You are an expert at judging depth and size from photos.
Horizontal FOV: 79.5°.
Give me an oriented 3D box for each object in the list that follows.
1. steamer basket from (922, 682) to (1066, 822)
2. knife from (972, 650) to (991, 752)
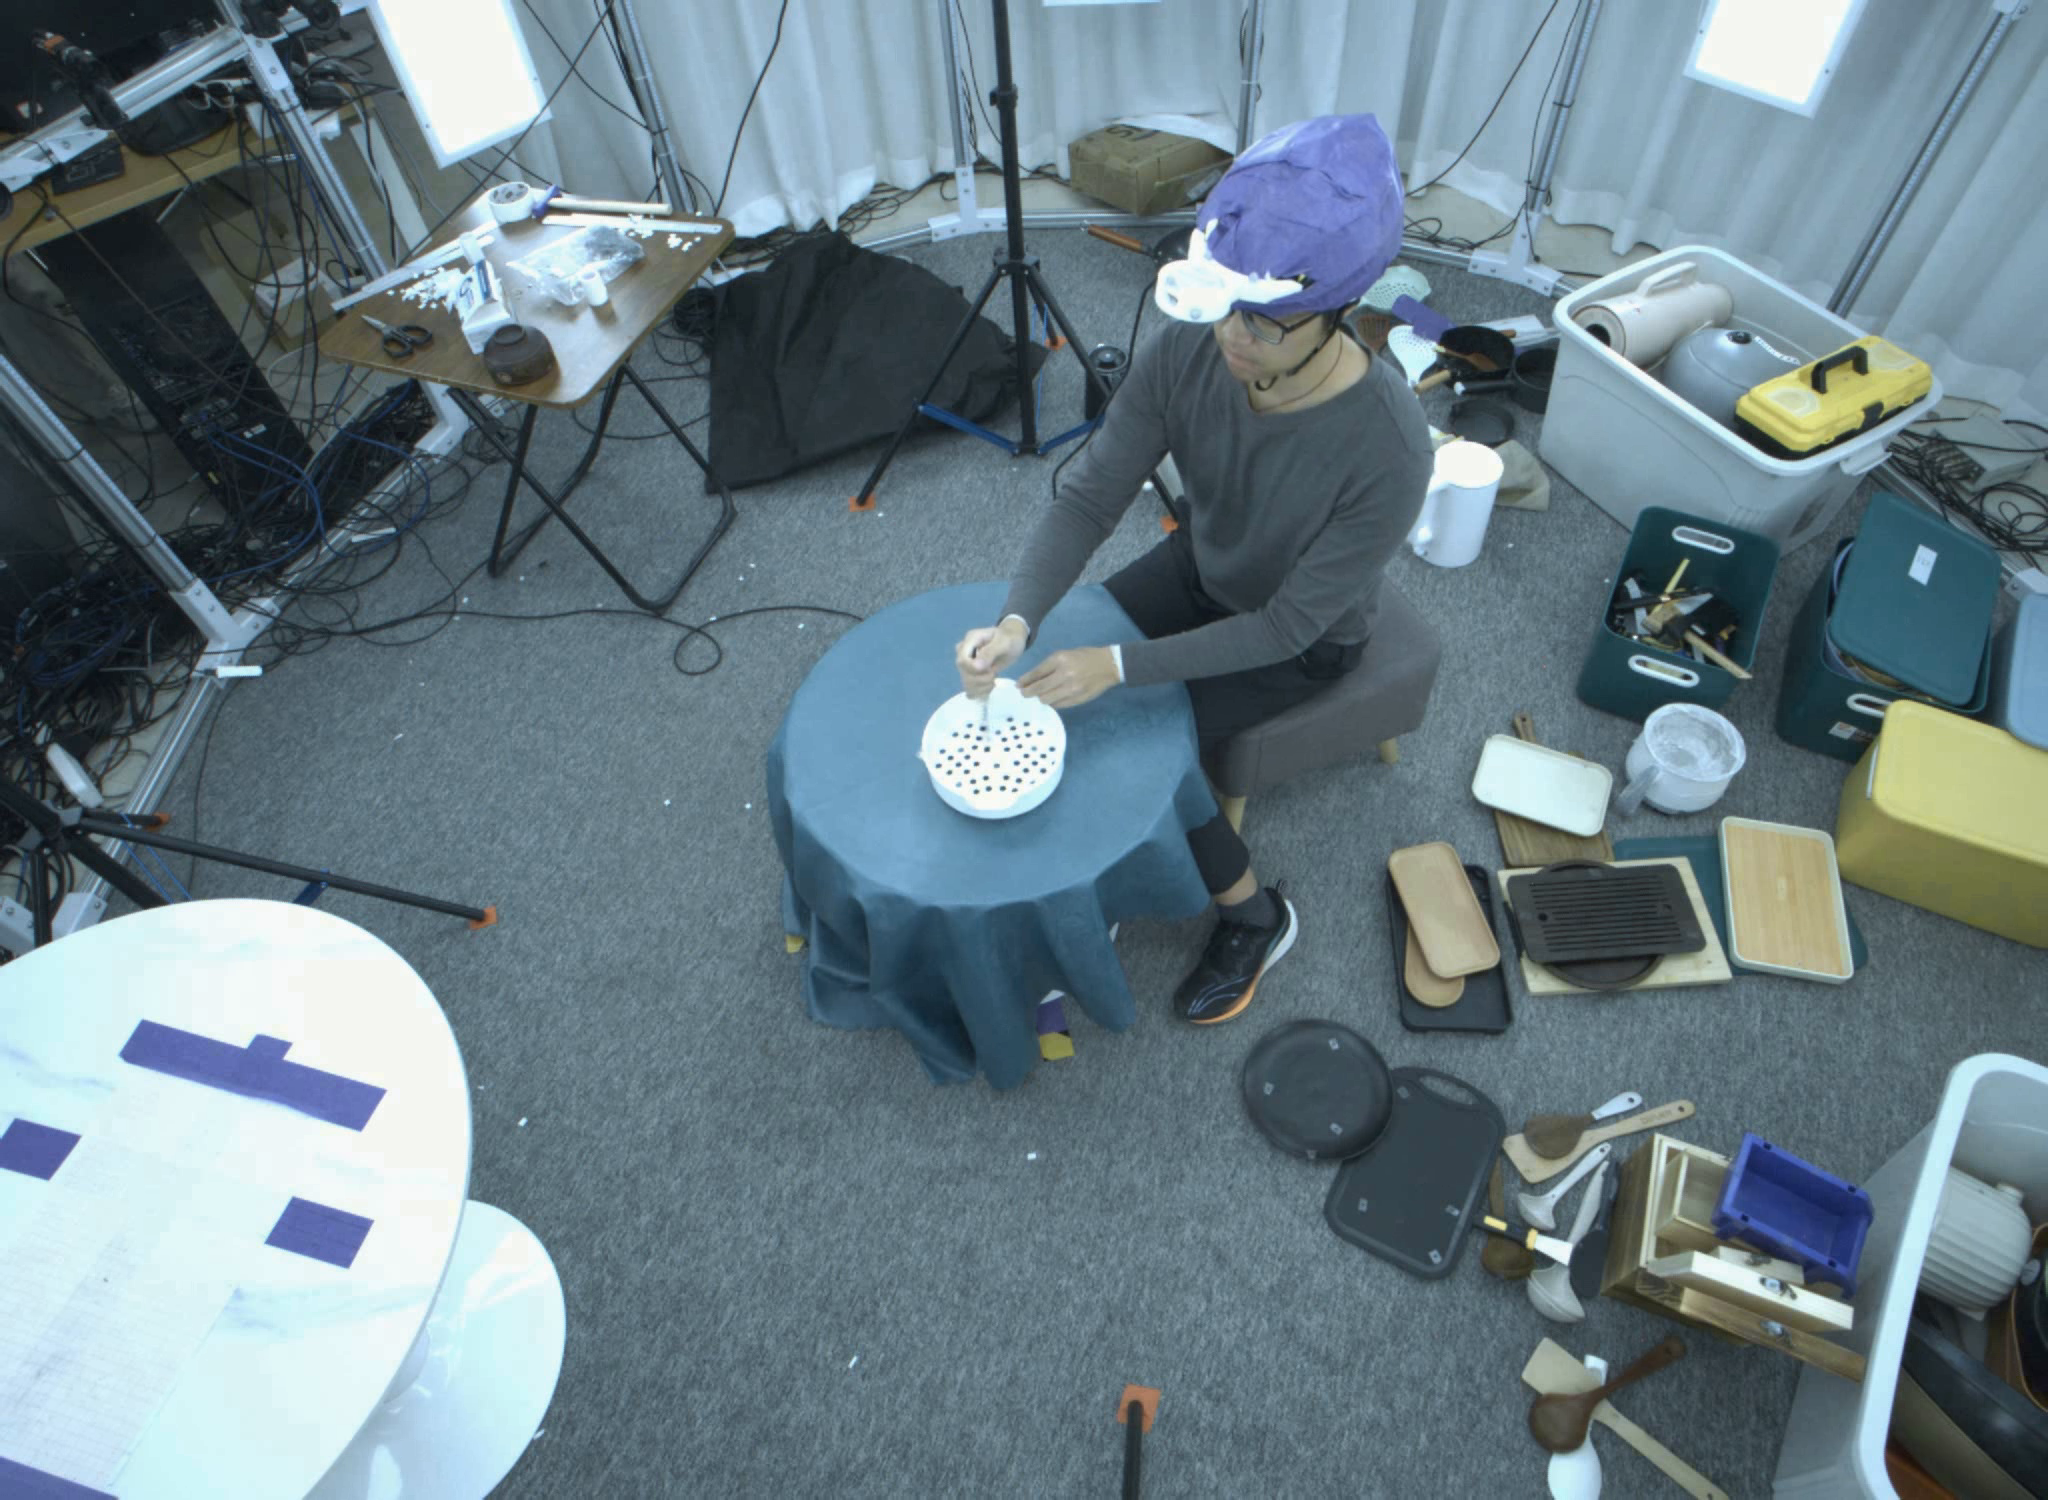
[{"bbox_3d":[-0.041,0.008,1.749,0.202,0.070,0.228,0,53,1],"label":"steamer basket"},{"bbox_3d":[-0.053,-0.062,1.648,0.016,0.240,0.024,8,60,8],"label":"knife"}]
